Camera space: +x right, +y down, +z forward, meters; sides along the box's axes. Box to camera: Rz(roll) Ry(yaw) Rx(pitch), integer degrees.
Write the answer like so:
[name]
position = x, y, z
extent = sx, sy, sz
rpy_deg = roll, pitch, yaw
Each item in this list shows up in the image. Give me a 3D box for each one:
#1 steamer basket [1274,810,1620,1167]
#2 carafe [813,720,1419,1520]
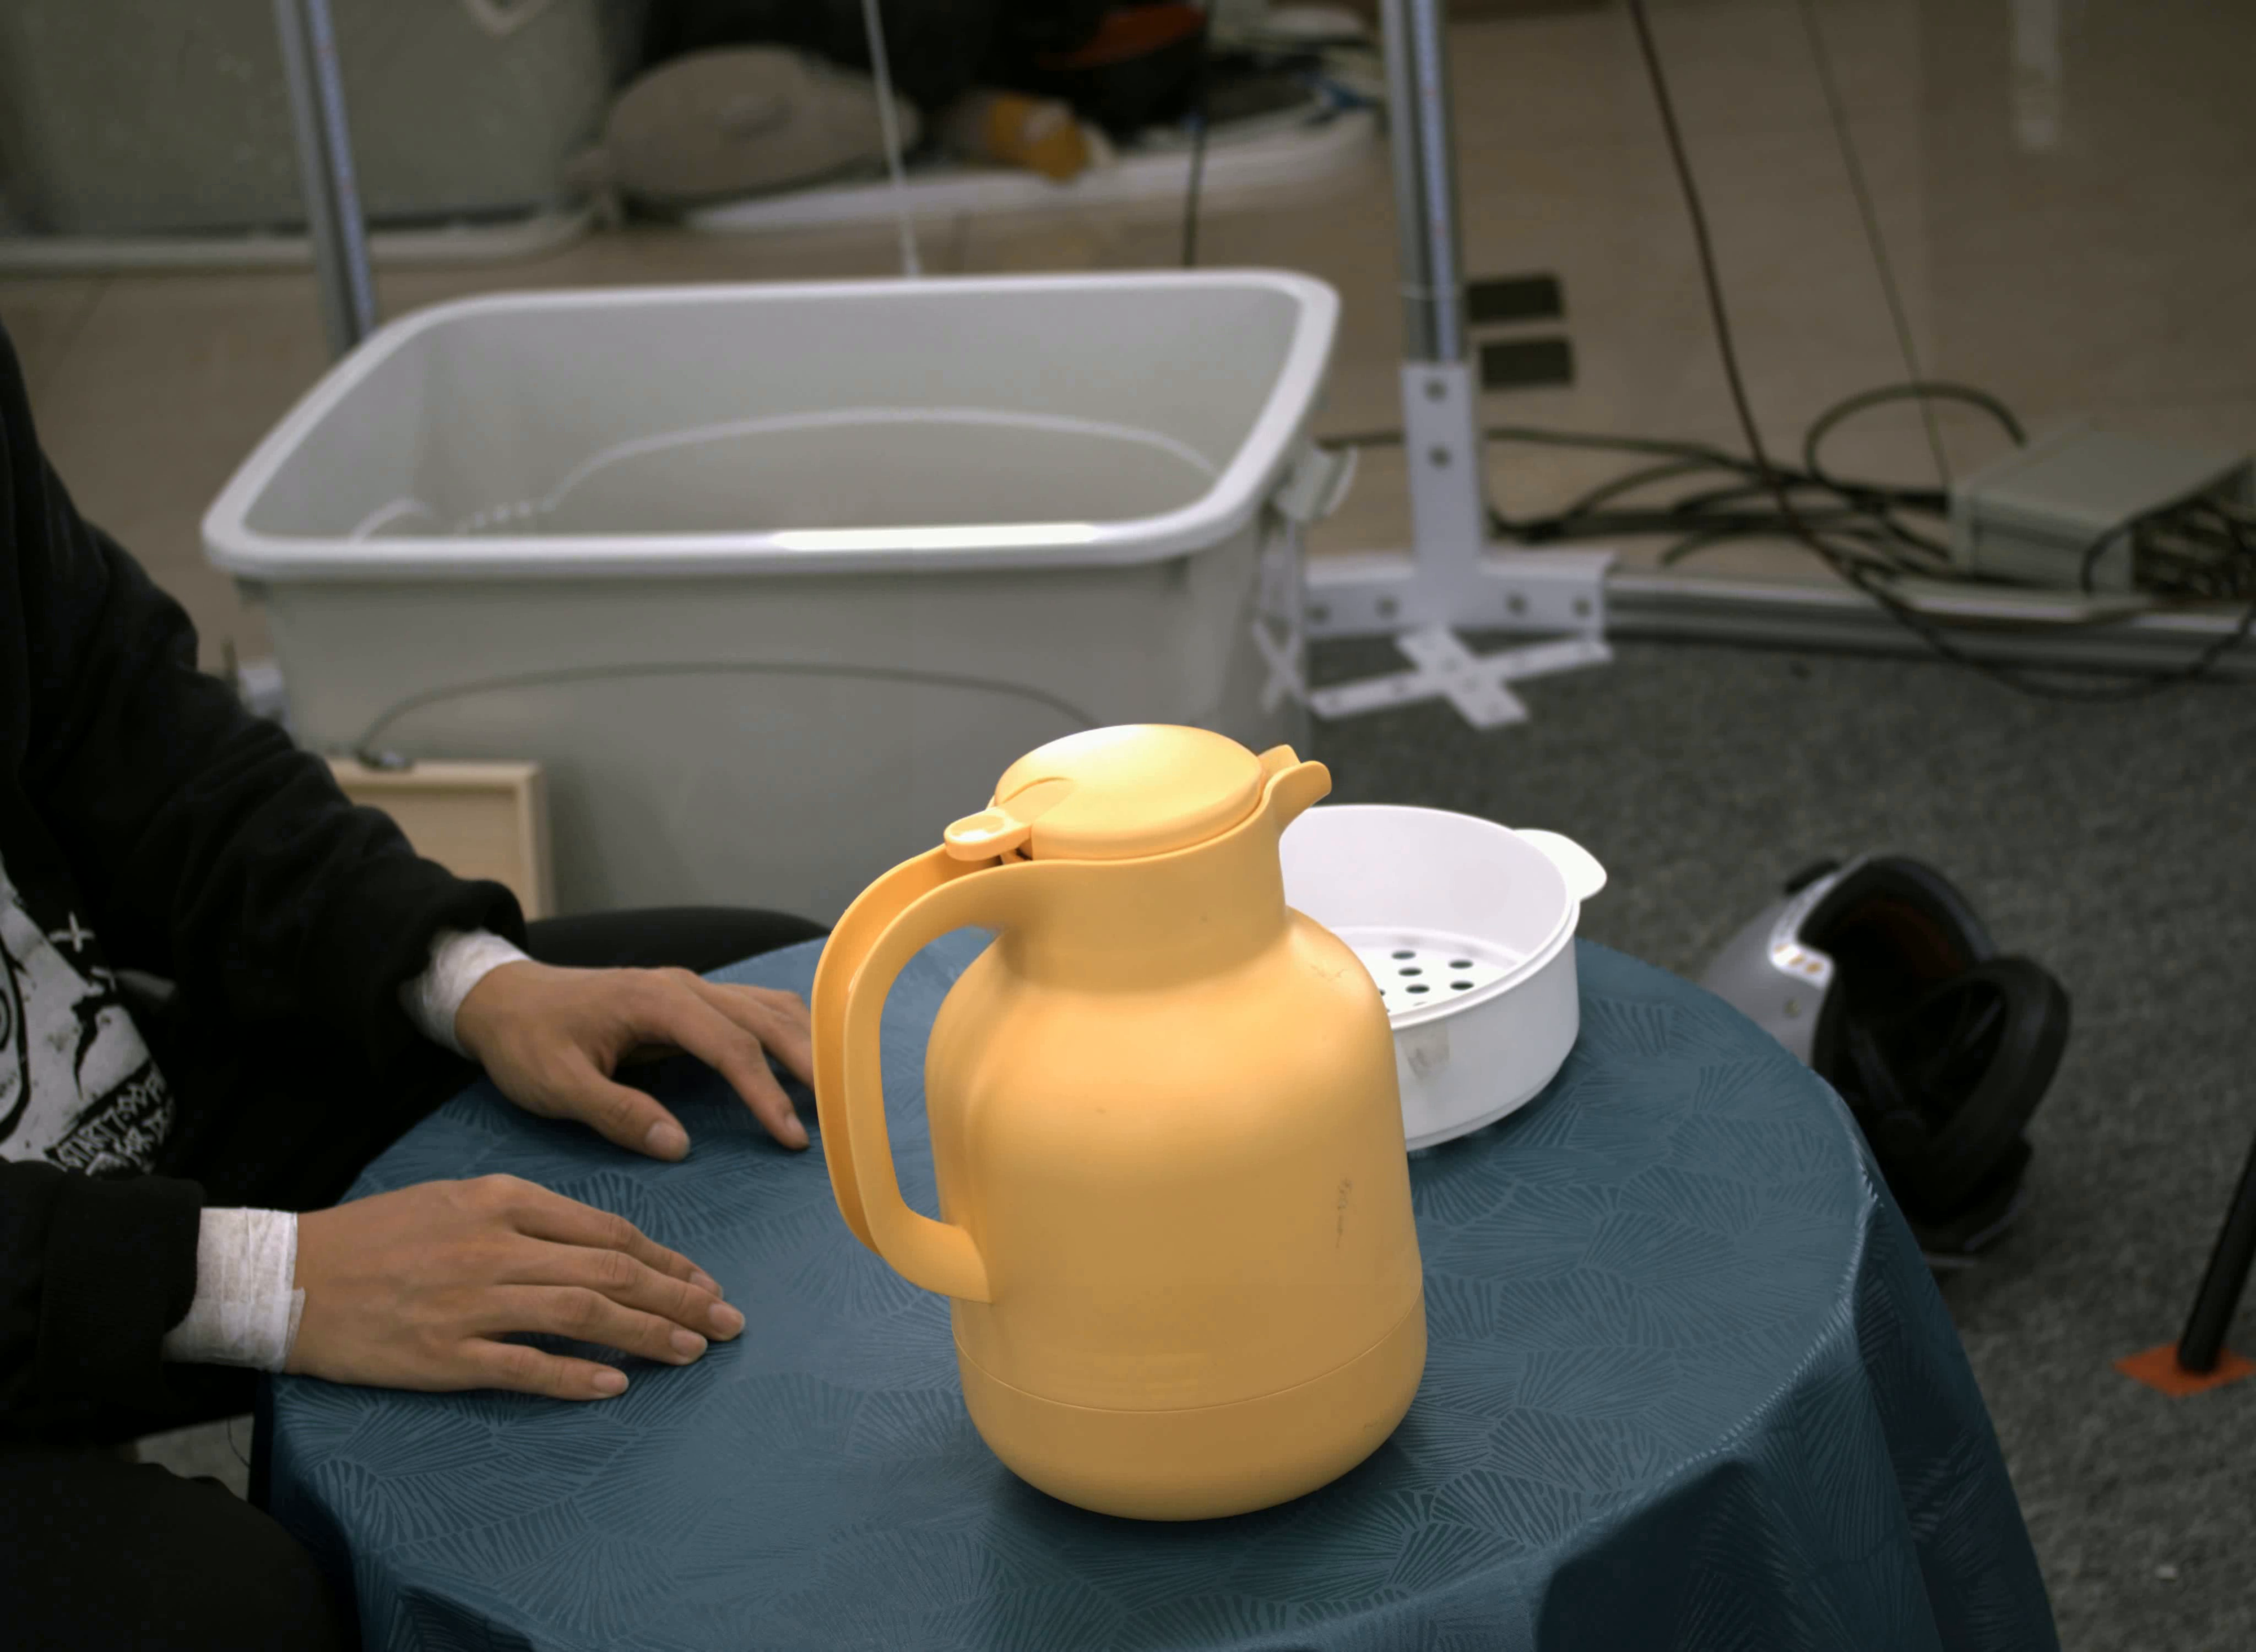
[steamer basket]
position = 0.083, 0.065, 2.216
extent = 0.230, 0.070, 0.199
rpy_deg = -14, 26, -16
[carafe]
position = -0.007, 0.100, 1.920
extent = 0.201, 0.264, 0.161
rpy_deg = -16, 24, -22
